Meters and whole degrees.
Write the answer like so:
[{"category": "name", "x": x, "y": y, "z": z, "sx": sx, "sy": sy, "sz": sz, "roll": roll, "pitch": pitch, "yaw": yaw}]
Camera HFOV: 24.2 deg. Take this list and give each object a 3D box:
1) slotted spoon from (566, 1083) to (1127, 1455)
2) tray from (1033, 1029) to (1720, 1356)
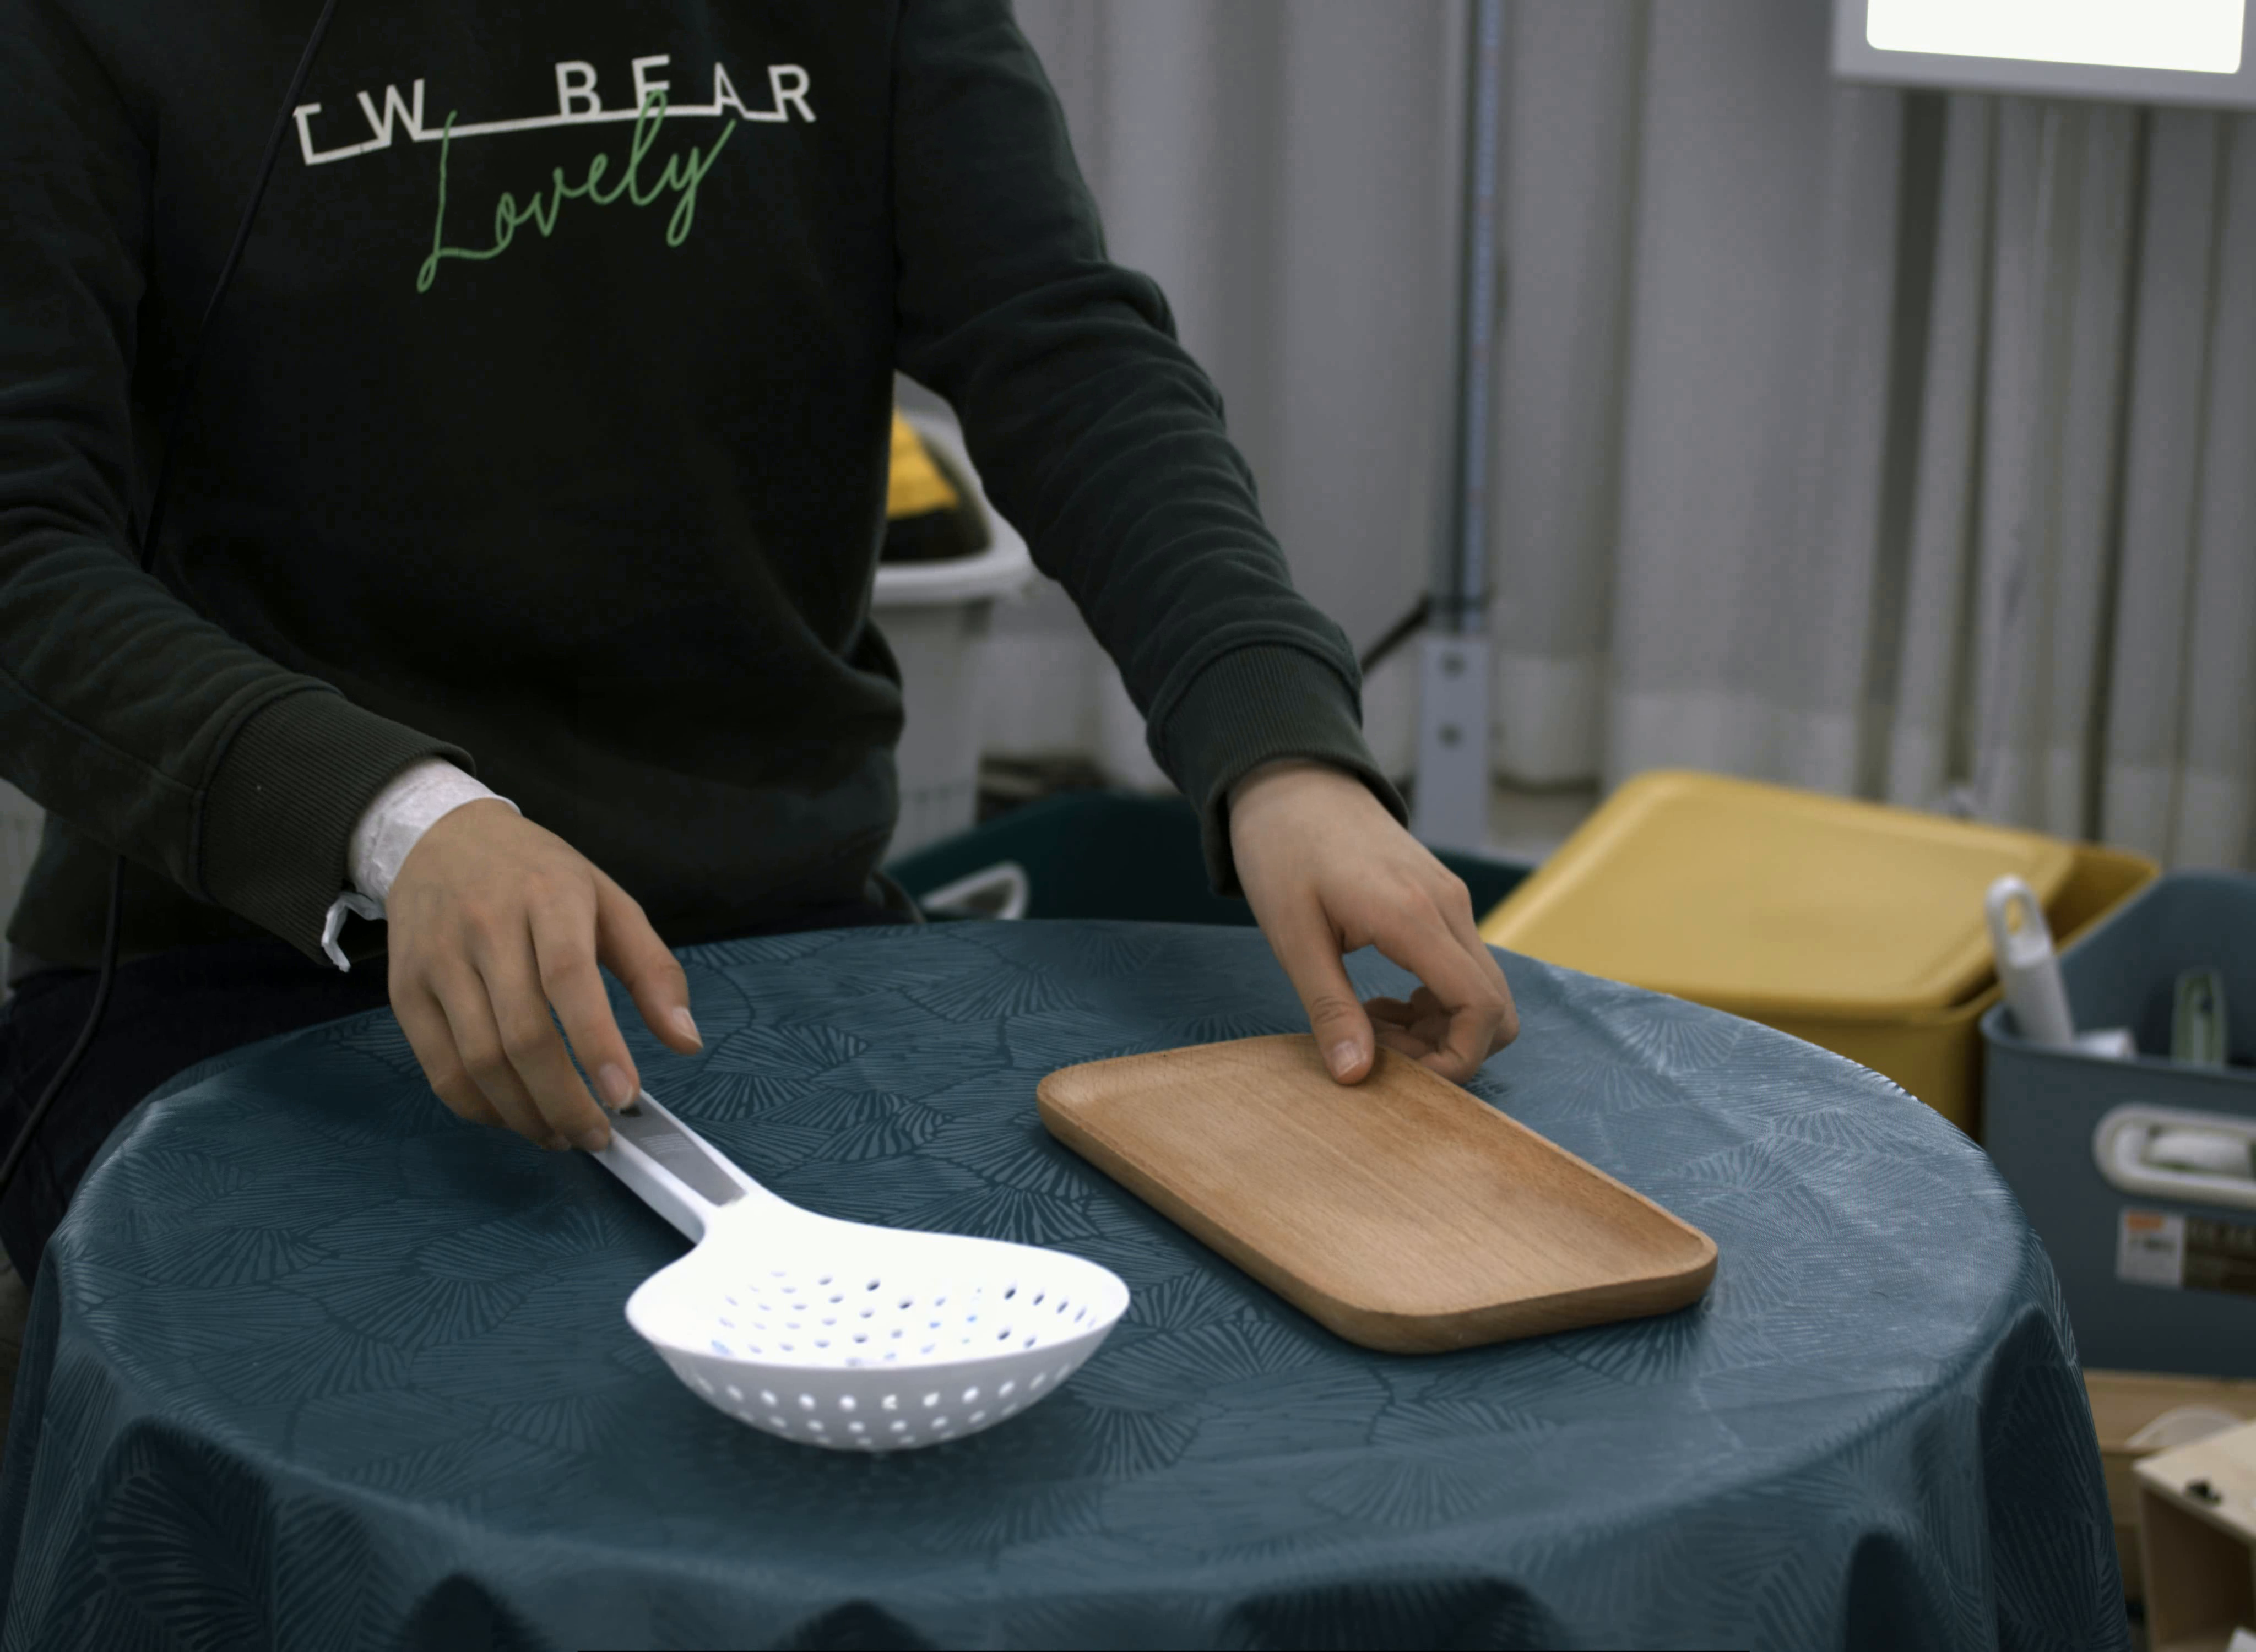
[{"category": "slotted spoon", "x": -0.107, "y": 0.118, "z": 1.519, "sx": 0.136, "sy": 0.046, "sz": 0.346, "roll": -3, "pitch": 15, "yaw": -21}, {"category": "tray", "x": 0.071, "y": 0.109, "z": 1.612, "sx": 0.131, "sy": 0.023, "sz": 0.247, "roll": -5, "pitch": 16, "yaw": -25}]
